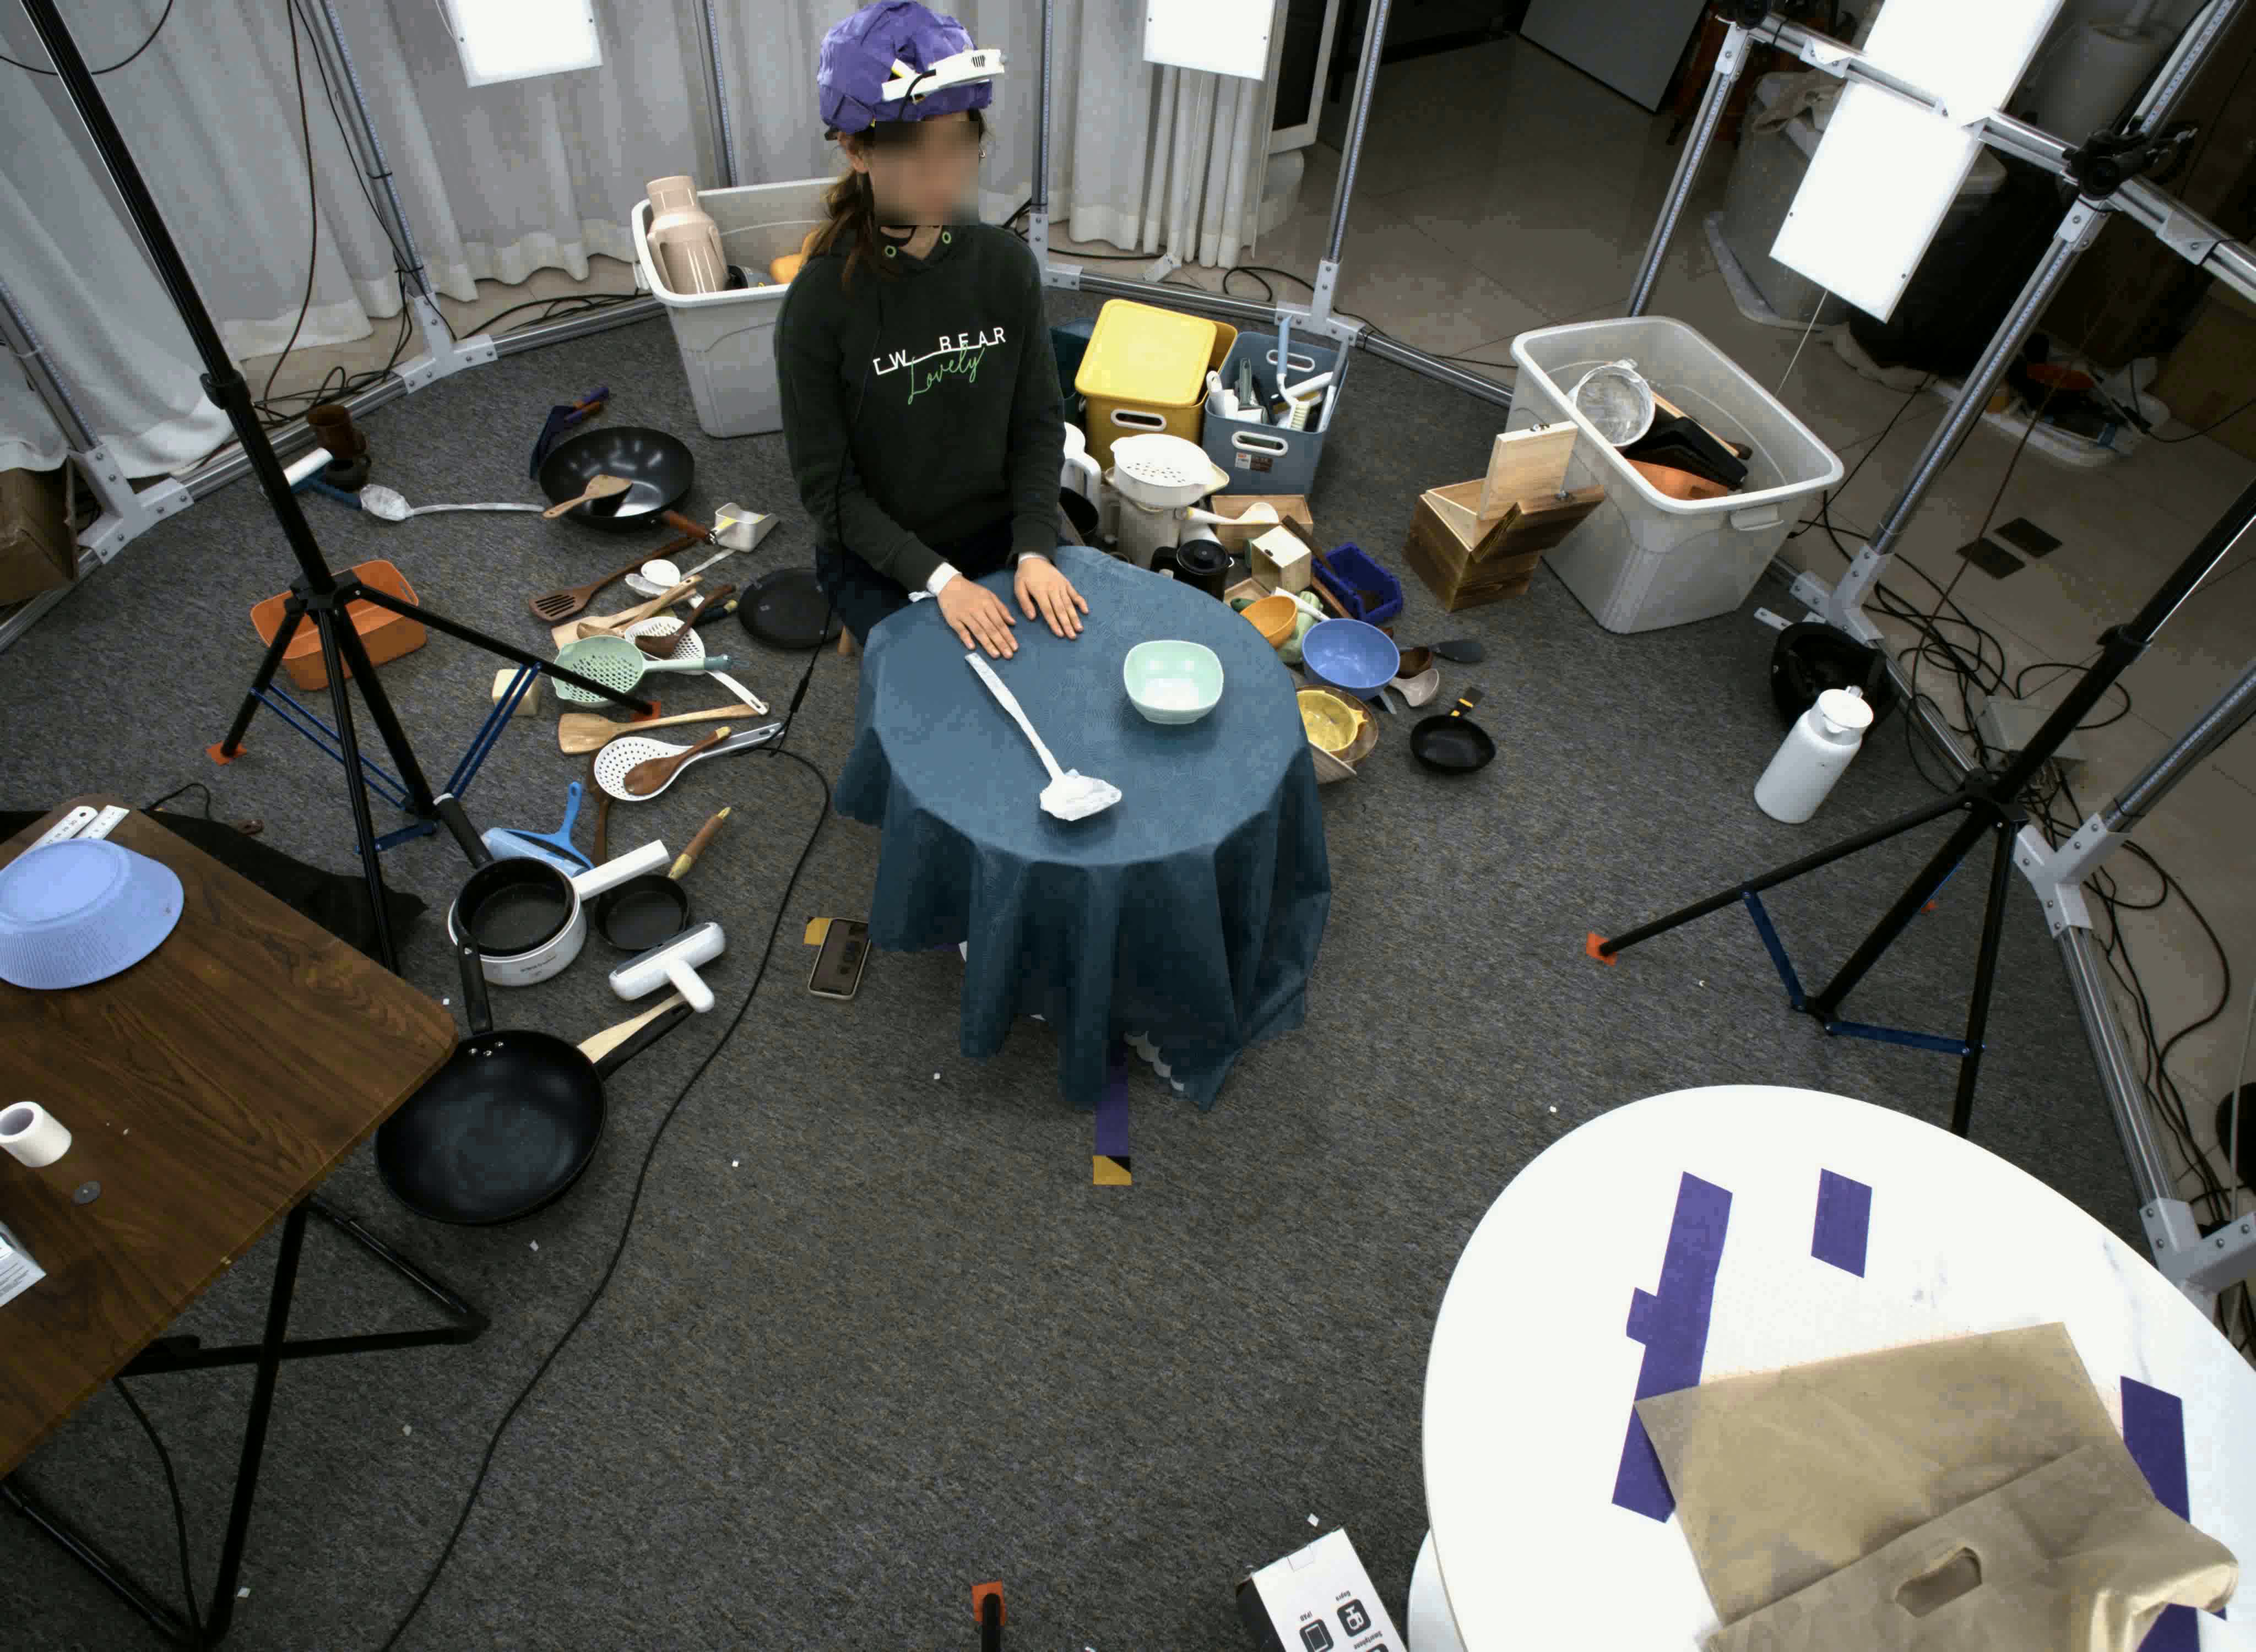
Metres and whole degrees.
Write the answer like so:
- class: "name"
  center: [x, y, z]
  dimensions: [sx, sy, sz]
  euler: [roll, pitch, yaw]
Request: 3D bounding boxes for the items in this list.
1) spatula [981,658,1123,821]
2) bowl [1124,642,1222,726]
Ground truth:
- class: "spatula"
  center: [-0.127, -0.130, 1.763]
  dimensions: [0.099, 0.043, 0.373]
  euler: [-21, 54, -19]
- class: "bowl"
  center: [0.061, -0.193, 1.820]
  dimensions: [0.151, 0.057, 0.155]
  euler: [3, 50, -4]
